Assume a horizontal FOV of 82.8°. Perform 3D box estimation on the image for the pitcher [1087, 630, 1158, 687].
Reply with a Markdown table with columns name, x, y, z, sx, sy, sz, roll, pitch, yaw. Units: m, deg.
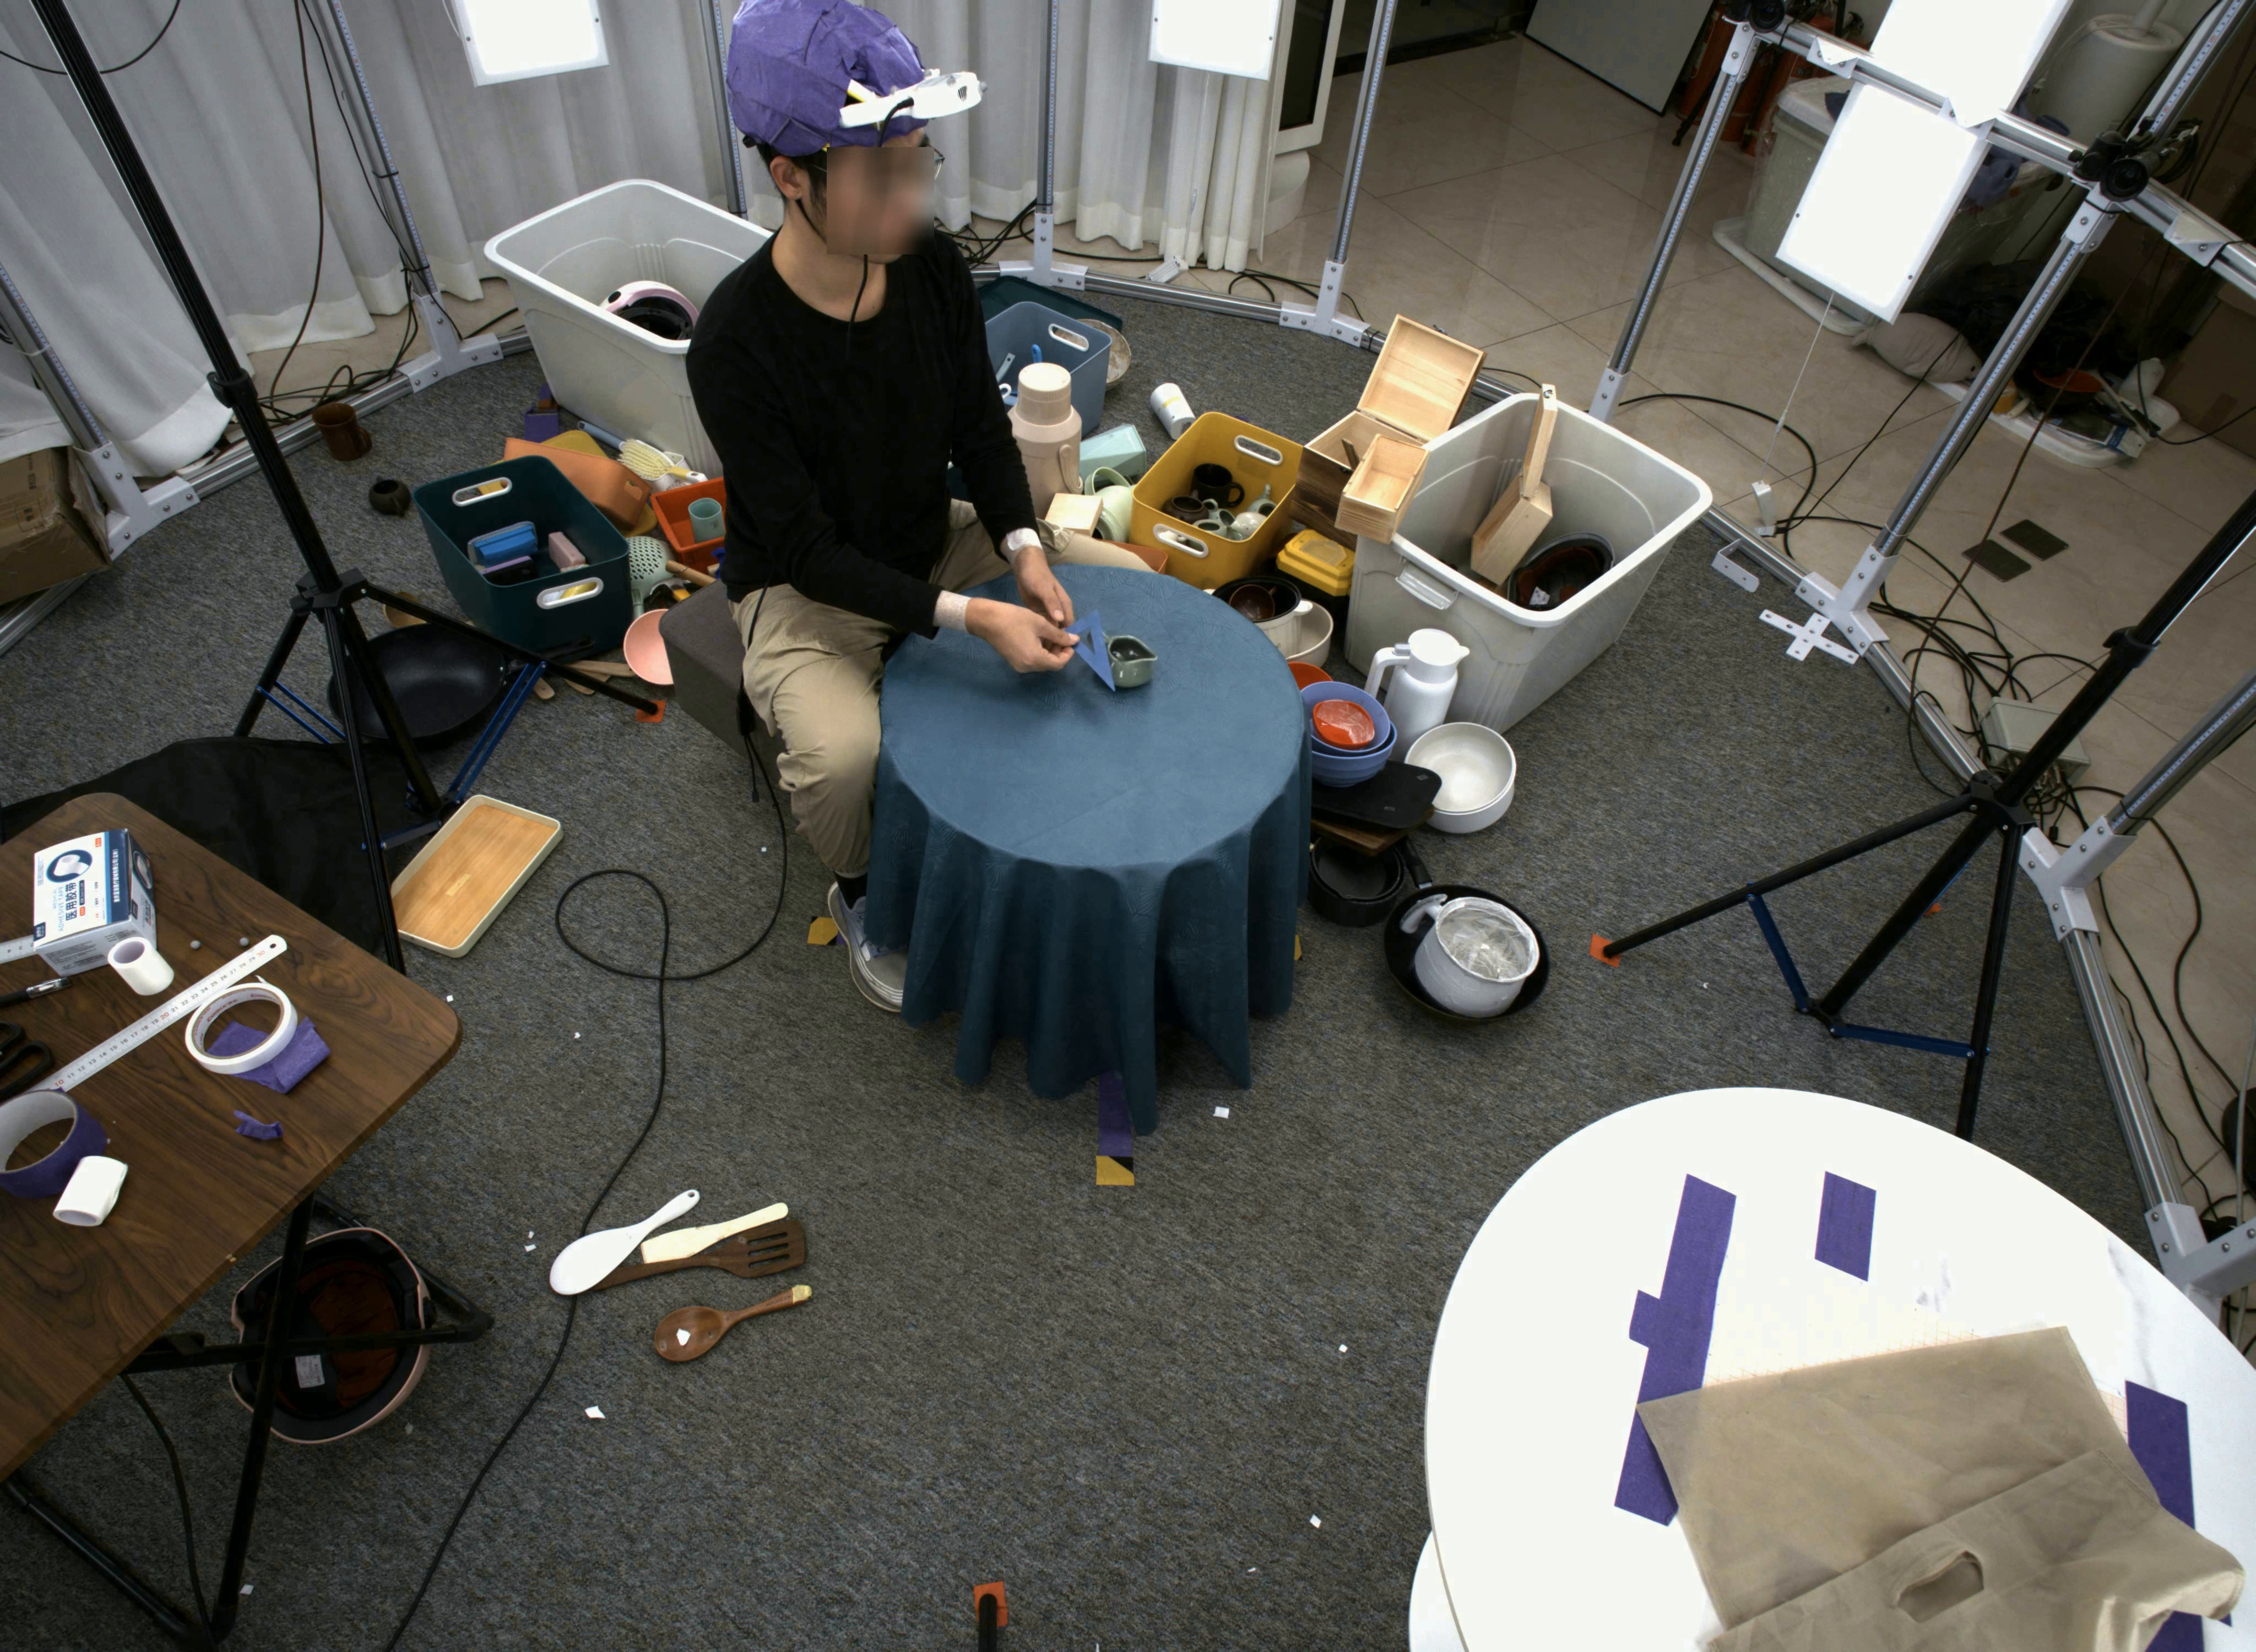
| name | x | y | z | sx | sy | sz | roll | pitch | yaw |
| --- | --- | --- | --- | --- | --- | --- | --- | --- | --- |
| pitcher | -0.009 | -0.243 | 1.844 | 0.113 | 0.055 | 0.085 | 25 | 50 | 17 |

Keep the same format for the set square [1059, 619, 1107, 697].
| name | x | y | z | sx | sy | sz | roll | pitch | yaw |
| --- | --- | --- | --- | --- | --- | --- | --- | --- | --- |
| set square | -0.063 | -0.236 | 1.790 | 0.061 | 0.006 | 0.135 | -2 | 62 | -9 |
